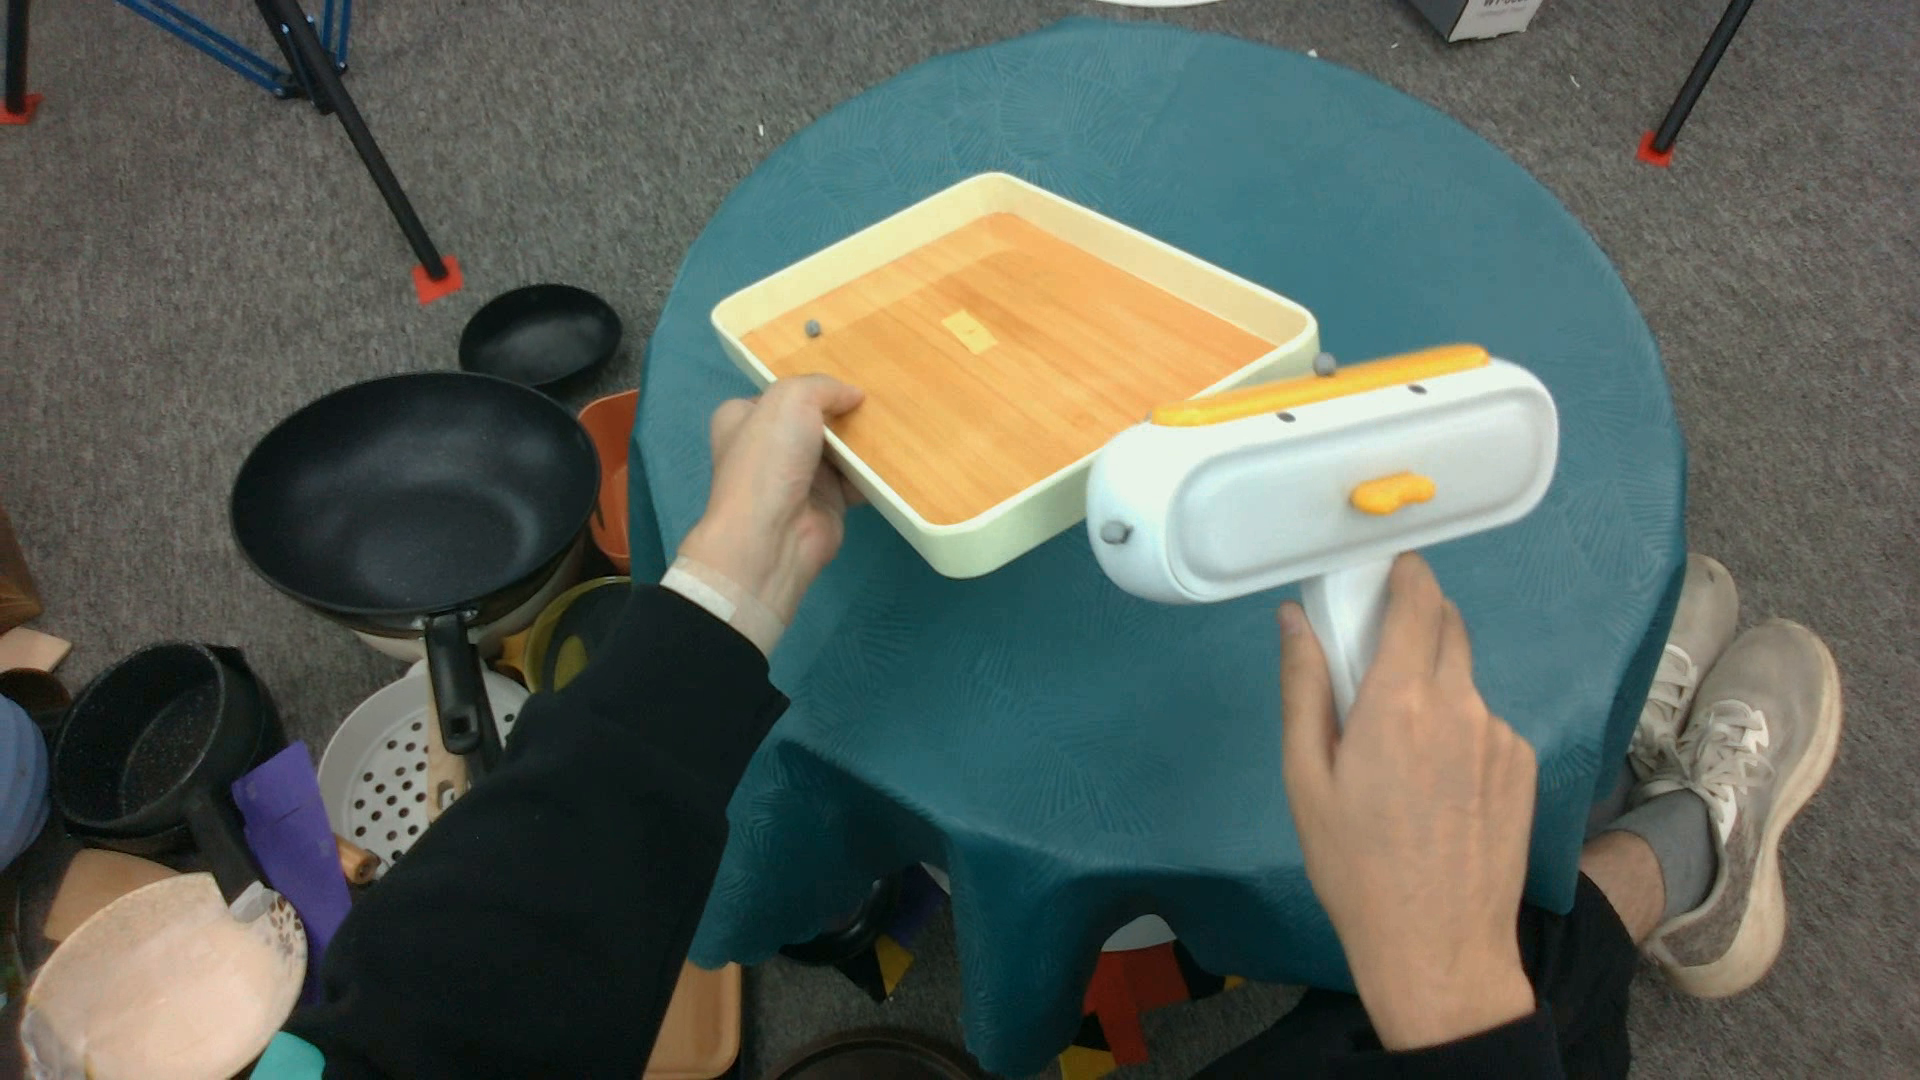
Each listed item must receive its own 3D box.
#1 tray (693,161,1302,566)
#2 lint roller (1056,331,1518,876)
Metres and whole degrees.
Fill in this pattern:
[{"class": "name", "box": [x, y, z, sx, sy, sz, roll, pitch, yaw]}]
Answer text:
[{"class": "tray", "box": [0.001, -0.102, 0.660, 0.192, 0.027, 0.300, -29, 36, -13]}, {"class": "lint roller", "box": [0.142, 0.031, 0.515, 0.193, 0.074, 0.192, -19, 100, -26]}]
